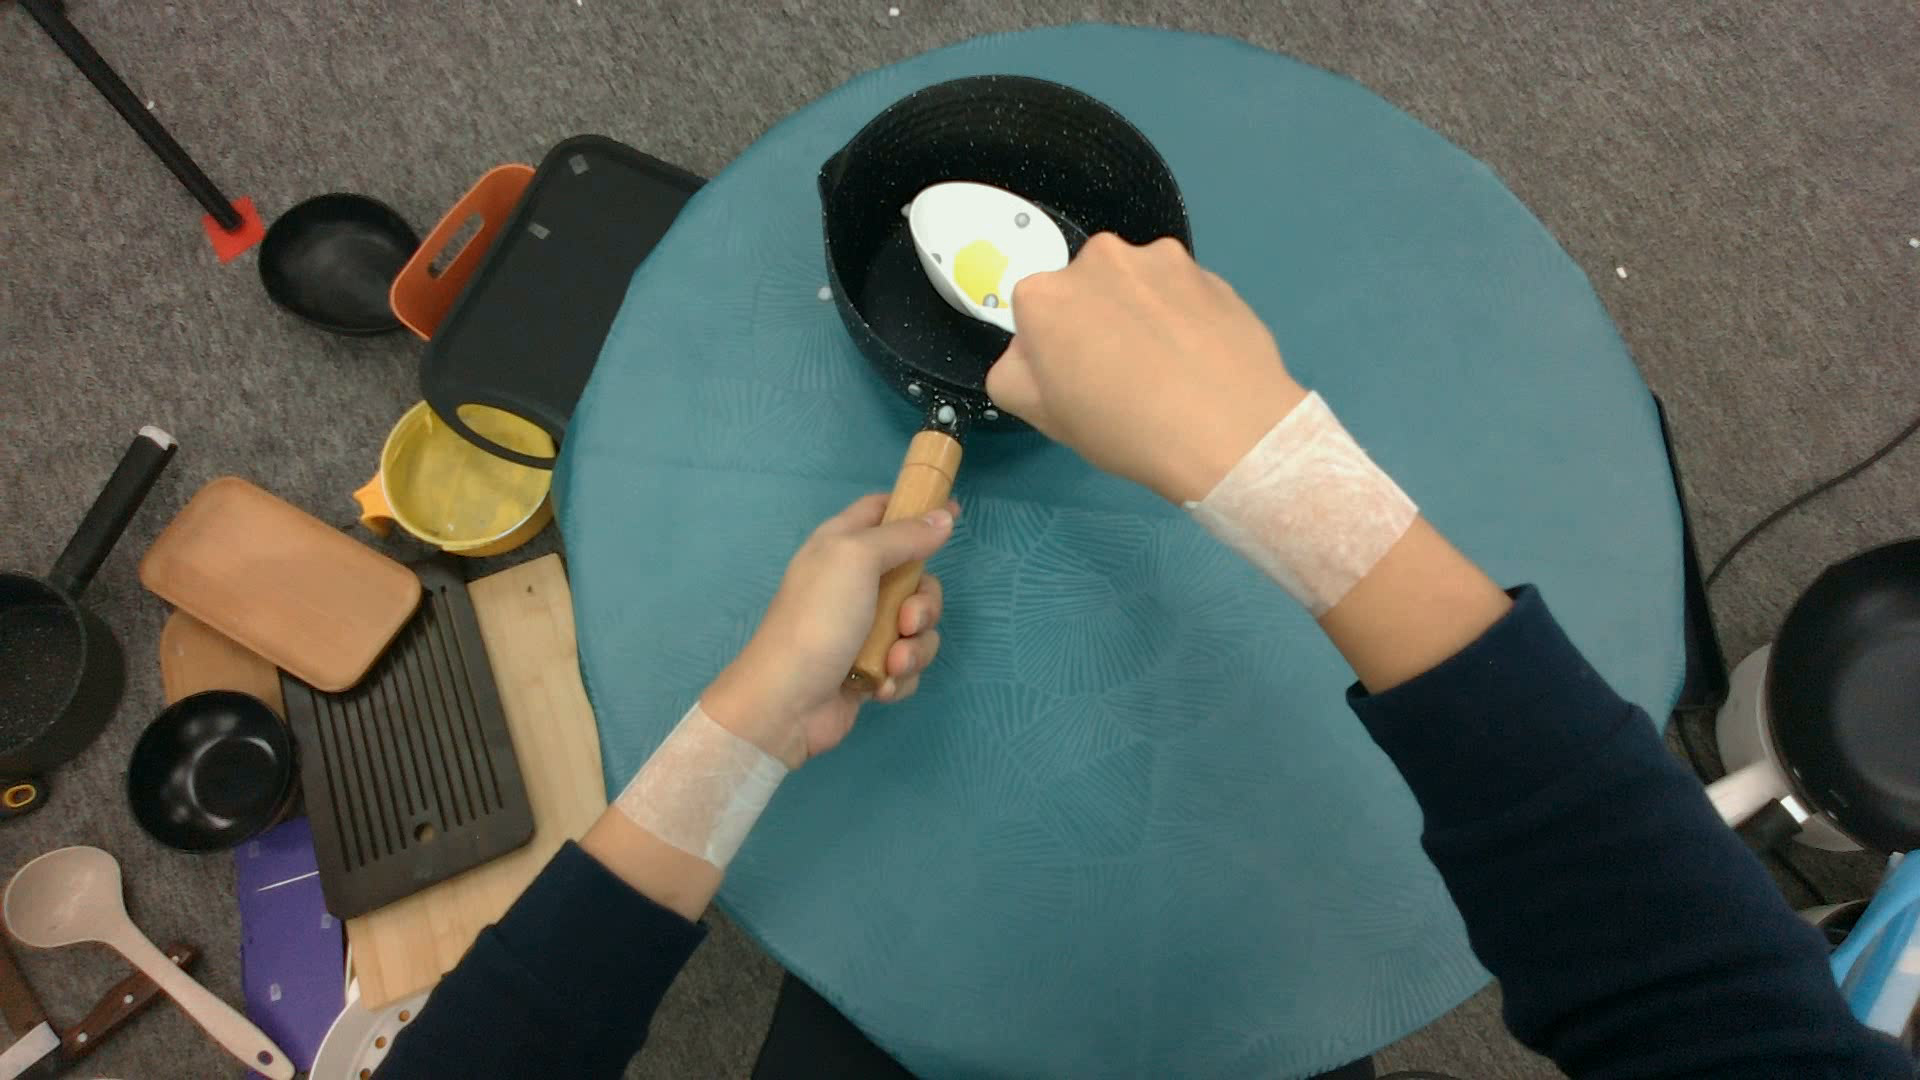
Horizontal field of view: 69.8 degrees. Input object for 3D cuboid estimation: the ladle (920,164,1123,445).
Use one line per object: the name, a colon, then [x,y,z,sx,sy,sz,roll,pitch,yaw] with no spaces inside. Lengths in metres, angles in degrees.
ladle: [0.032,-0.118,0.640,0.090,0.293,0.070,21,106,-16]

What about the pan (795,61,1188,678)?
pan: [-0.005,-0.080,0.687,0.207,0.108,0.344,16,69,0]
